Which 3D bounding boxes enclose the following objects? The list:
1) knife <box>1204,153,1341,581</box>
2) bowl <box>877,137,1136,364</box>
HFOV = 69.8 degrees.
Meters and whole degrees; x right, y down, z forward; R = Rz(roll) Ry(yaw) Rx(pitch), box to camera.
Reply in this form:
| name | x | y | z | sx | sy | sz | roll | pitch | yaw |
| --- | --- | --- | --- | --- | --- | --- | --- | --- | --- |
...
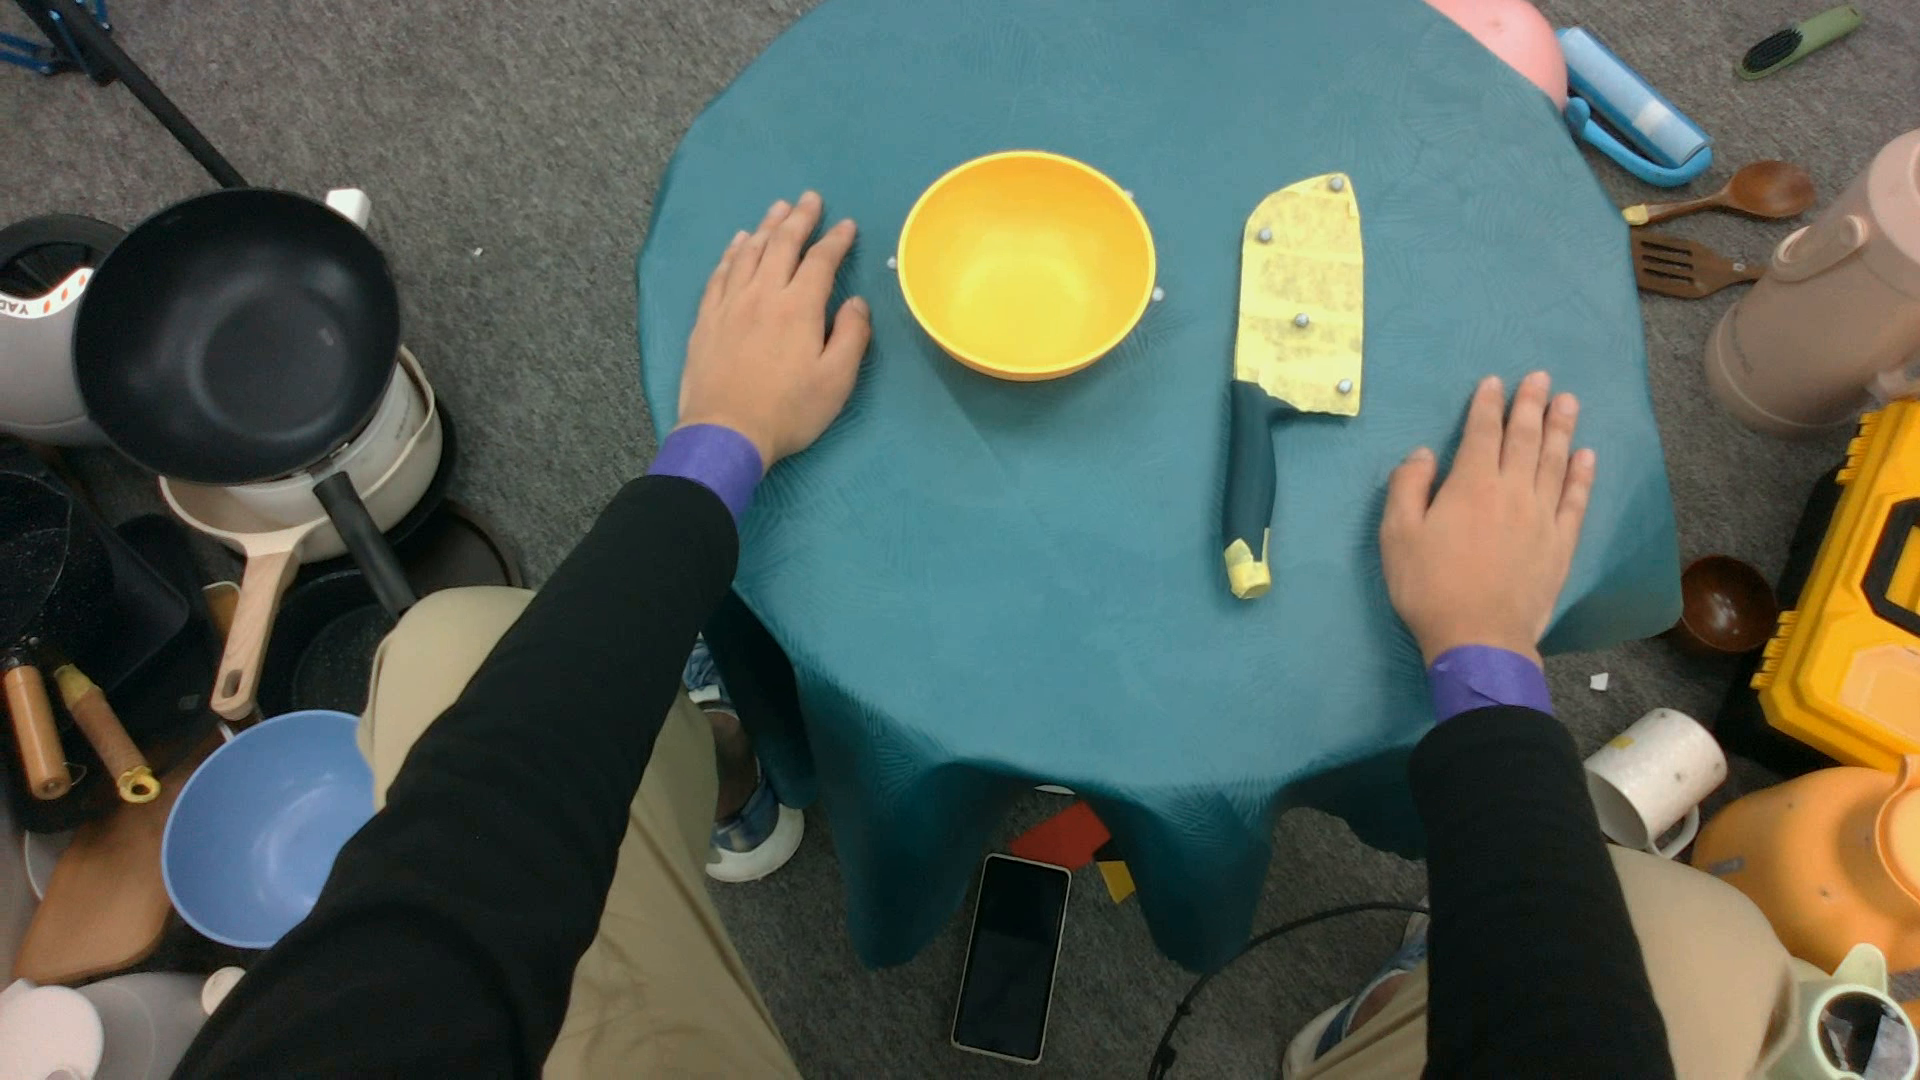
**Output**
| name | x | y | z | sx | sy | sz | roll | pitch | yaw |
| --- | --- | --- | --- | --- | --- | --- | --- | --- | --- |
| knife | 0.181 | -0.109 | 0.803 | 0.081 | 0.027 | 0.290 | 9 | 68 | 4 |
| bowl | 0.027 | -0.156 | 0.795 | 0.145 | 0.060 | 0.146 | 0 | 68 | 1 |
